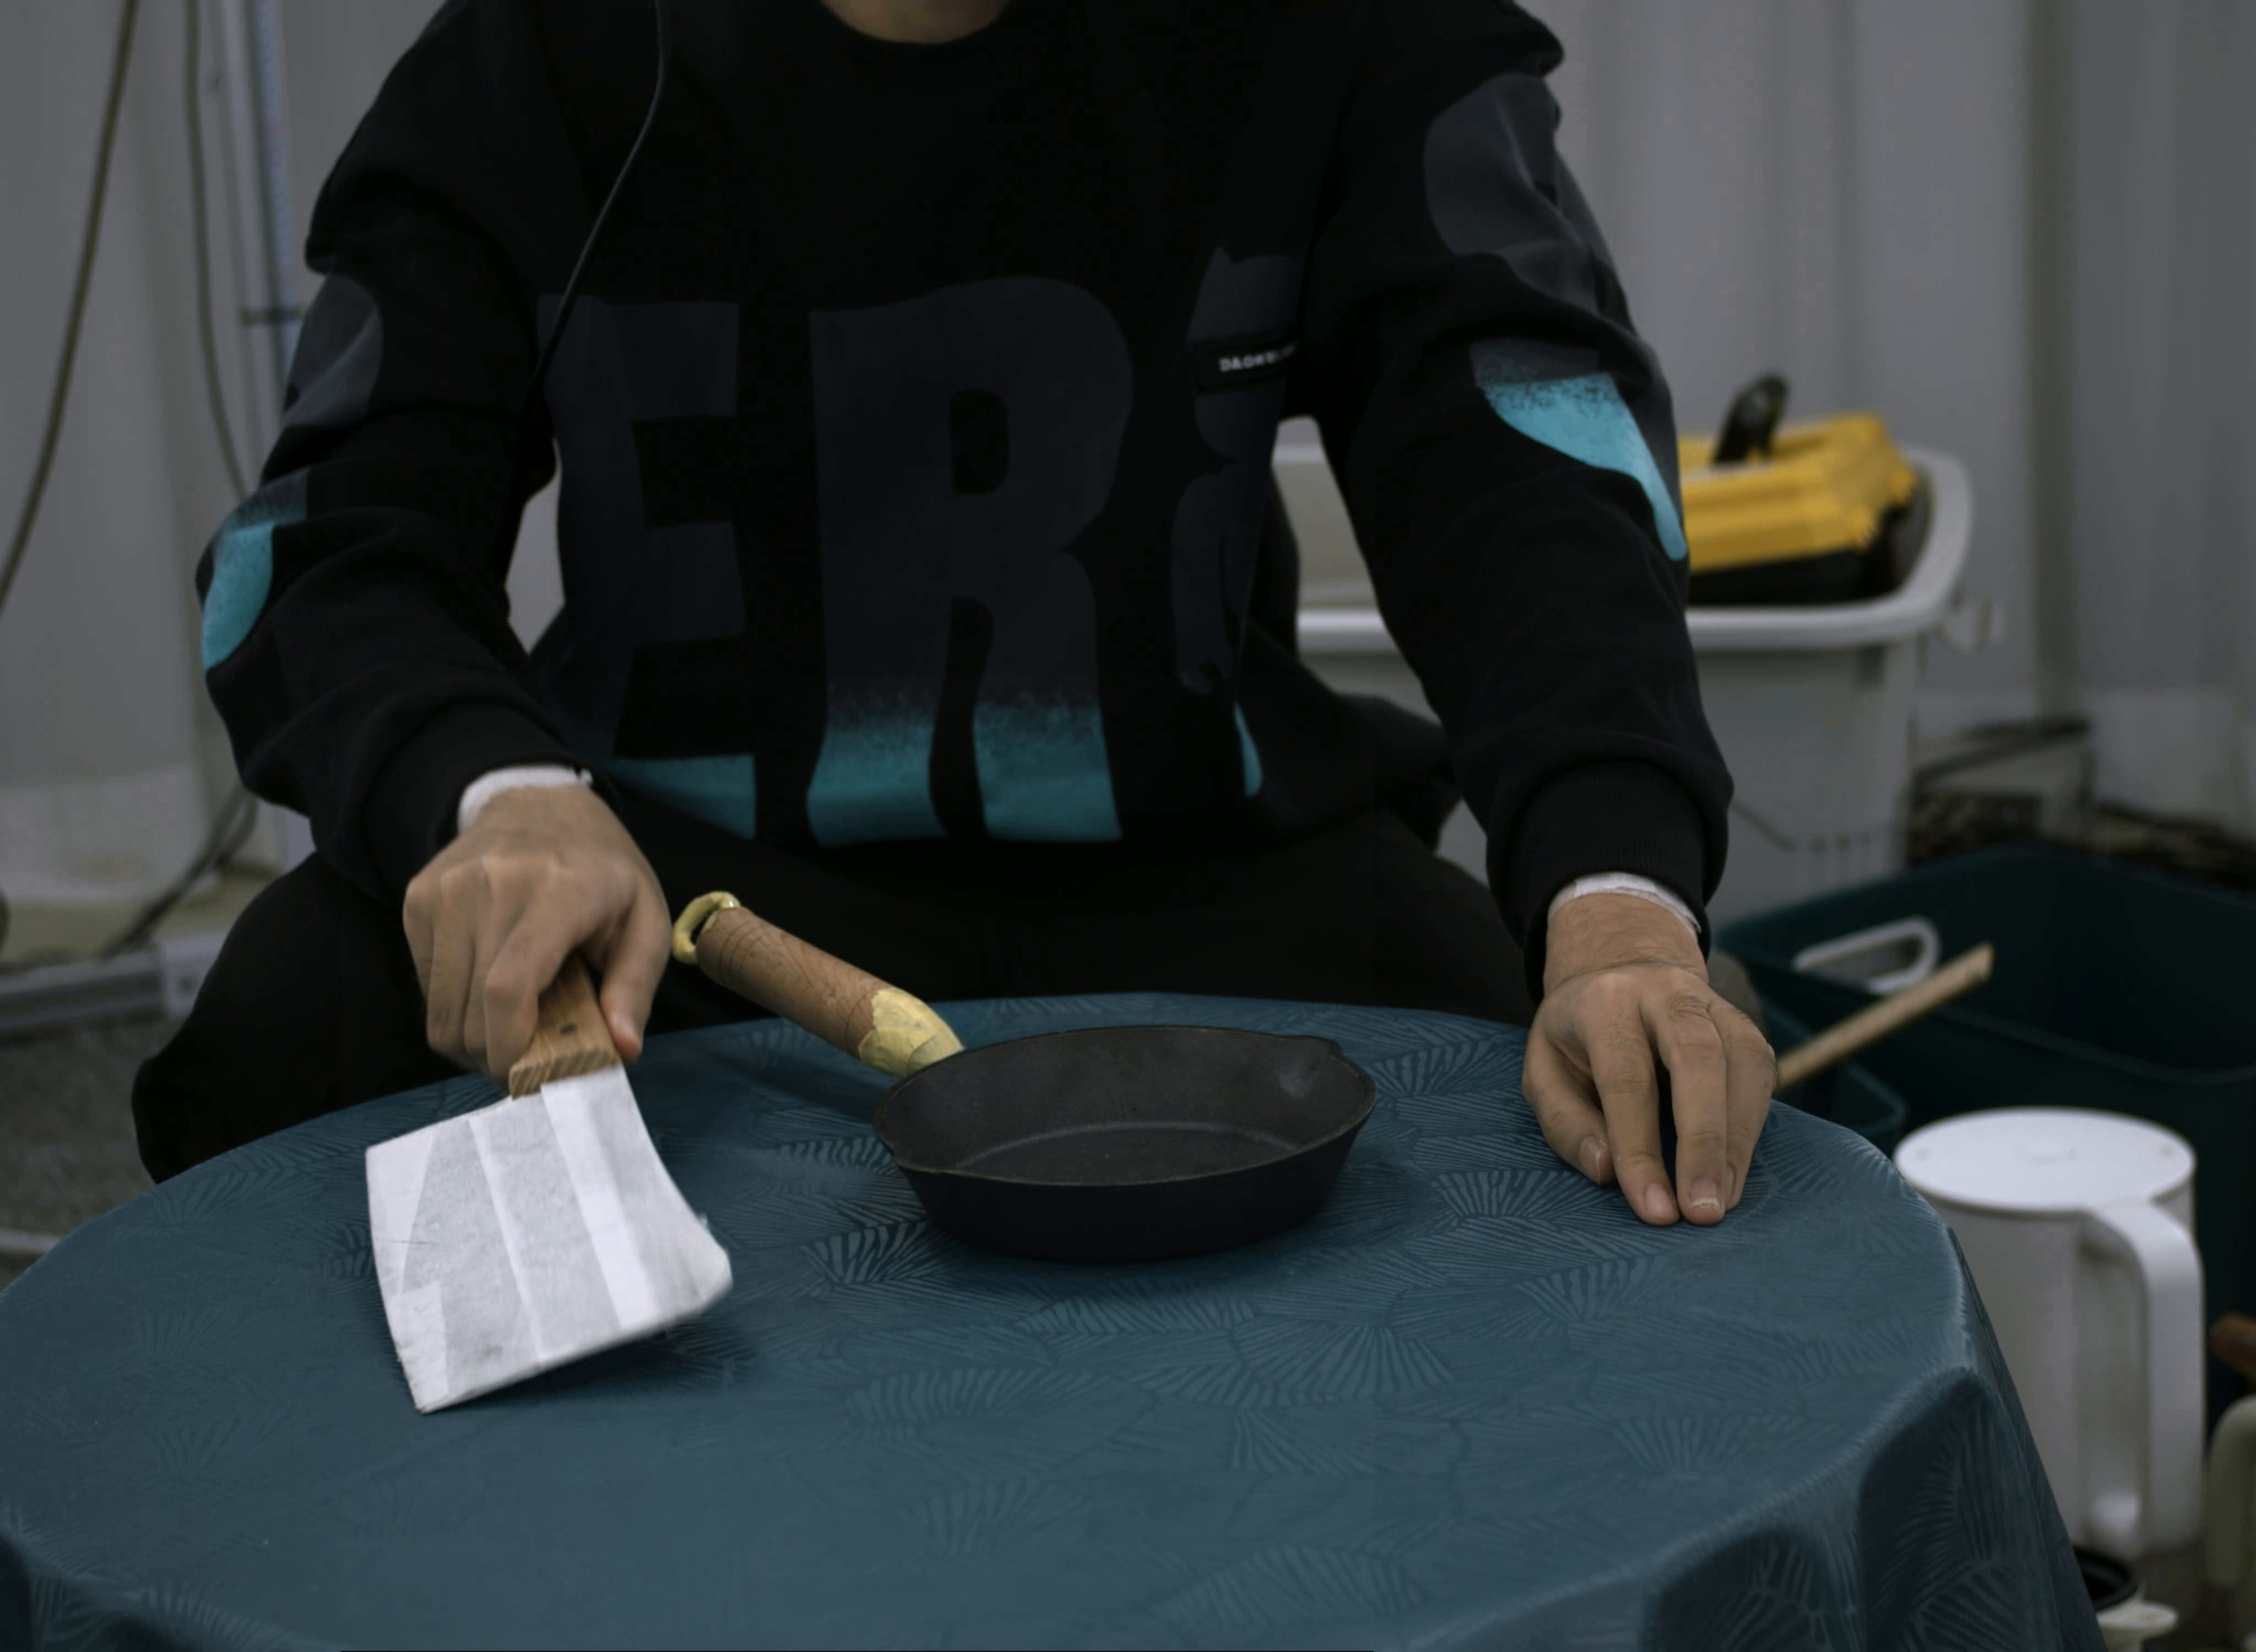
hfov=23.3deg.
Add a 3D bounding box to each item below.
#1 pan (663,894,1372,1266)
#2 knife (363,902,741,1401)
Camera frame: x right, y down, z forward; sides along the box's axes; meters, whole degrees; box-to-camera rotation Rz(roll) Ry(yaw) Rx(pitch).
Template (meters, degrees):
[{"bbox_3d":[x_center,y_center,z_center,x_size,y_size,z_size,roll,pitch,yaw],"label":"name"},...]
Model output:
[{"bbox_3d":[-0.053,0.077,1.768,0.168,0.049,0.326,-14,20,-35],"label":"pan"},{"bbox_3d":[-0.185,0.094,1.704,0.113,0.021,0.319,-21,23,-1],"label":"knife"}]
